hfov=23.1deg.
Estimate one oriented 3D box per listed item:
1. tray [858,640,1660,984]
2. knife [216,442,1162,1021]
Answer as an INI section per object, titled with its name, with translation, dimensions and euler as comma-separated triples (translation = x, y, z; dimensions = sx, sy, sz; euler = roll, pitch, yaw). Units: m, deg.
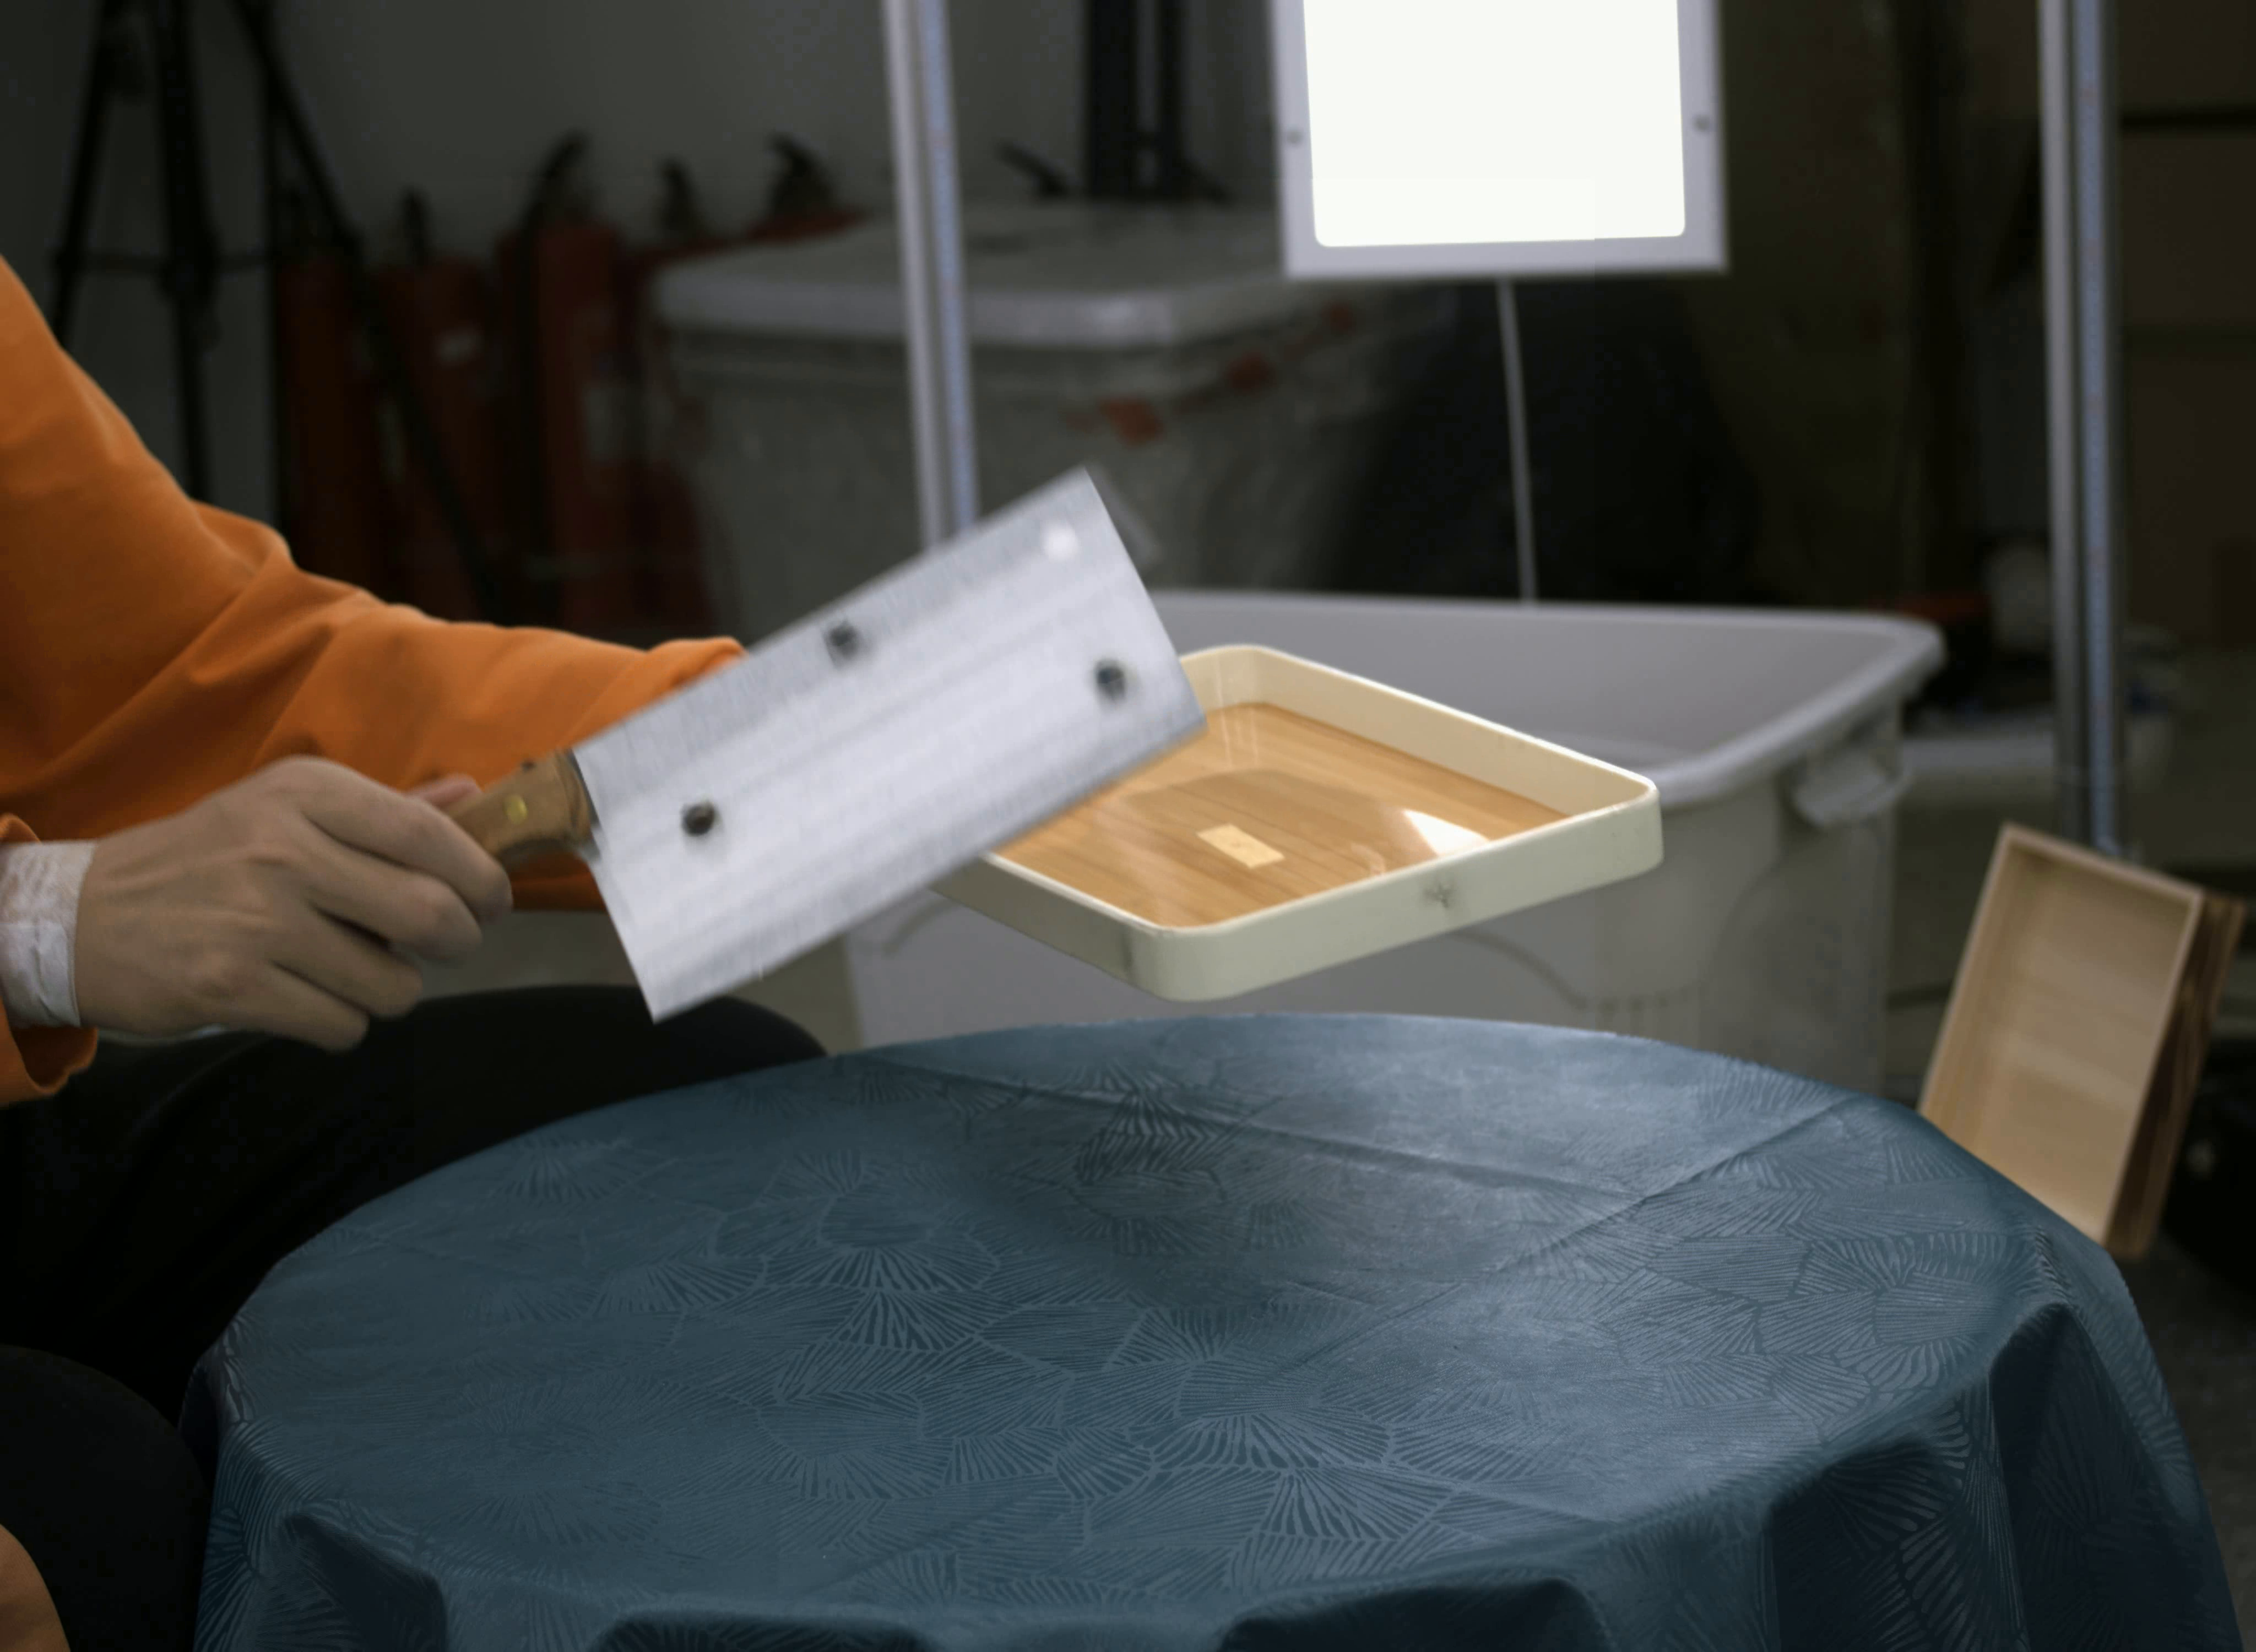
[tray]
translation = 0.030, -0.009, 1.883
dimensions = 0.188, 0.027, 0.305
euler = -15, 17, -23
[knife]
translation = -0.130, -0.006, 1.650
dimensions = 0.308, 0.093, 0.021
euler = -29, -16, 10
